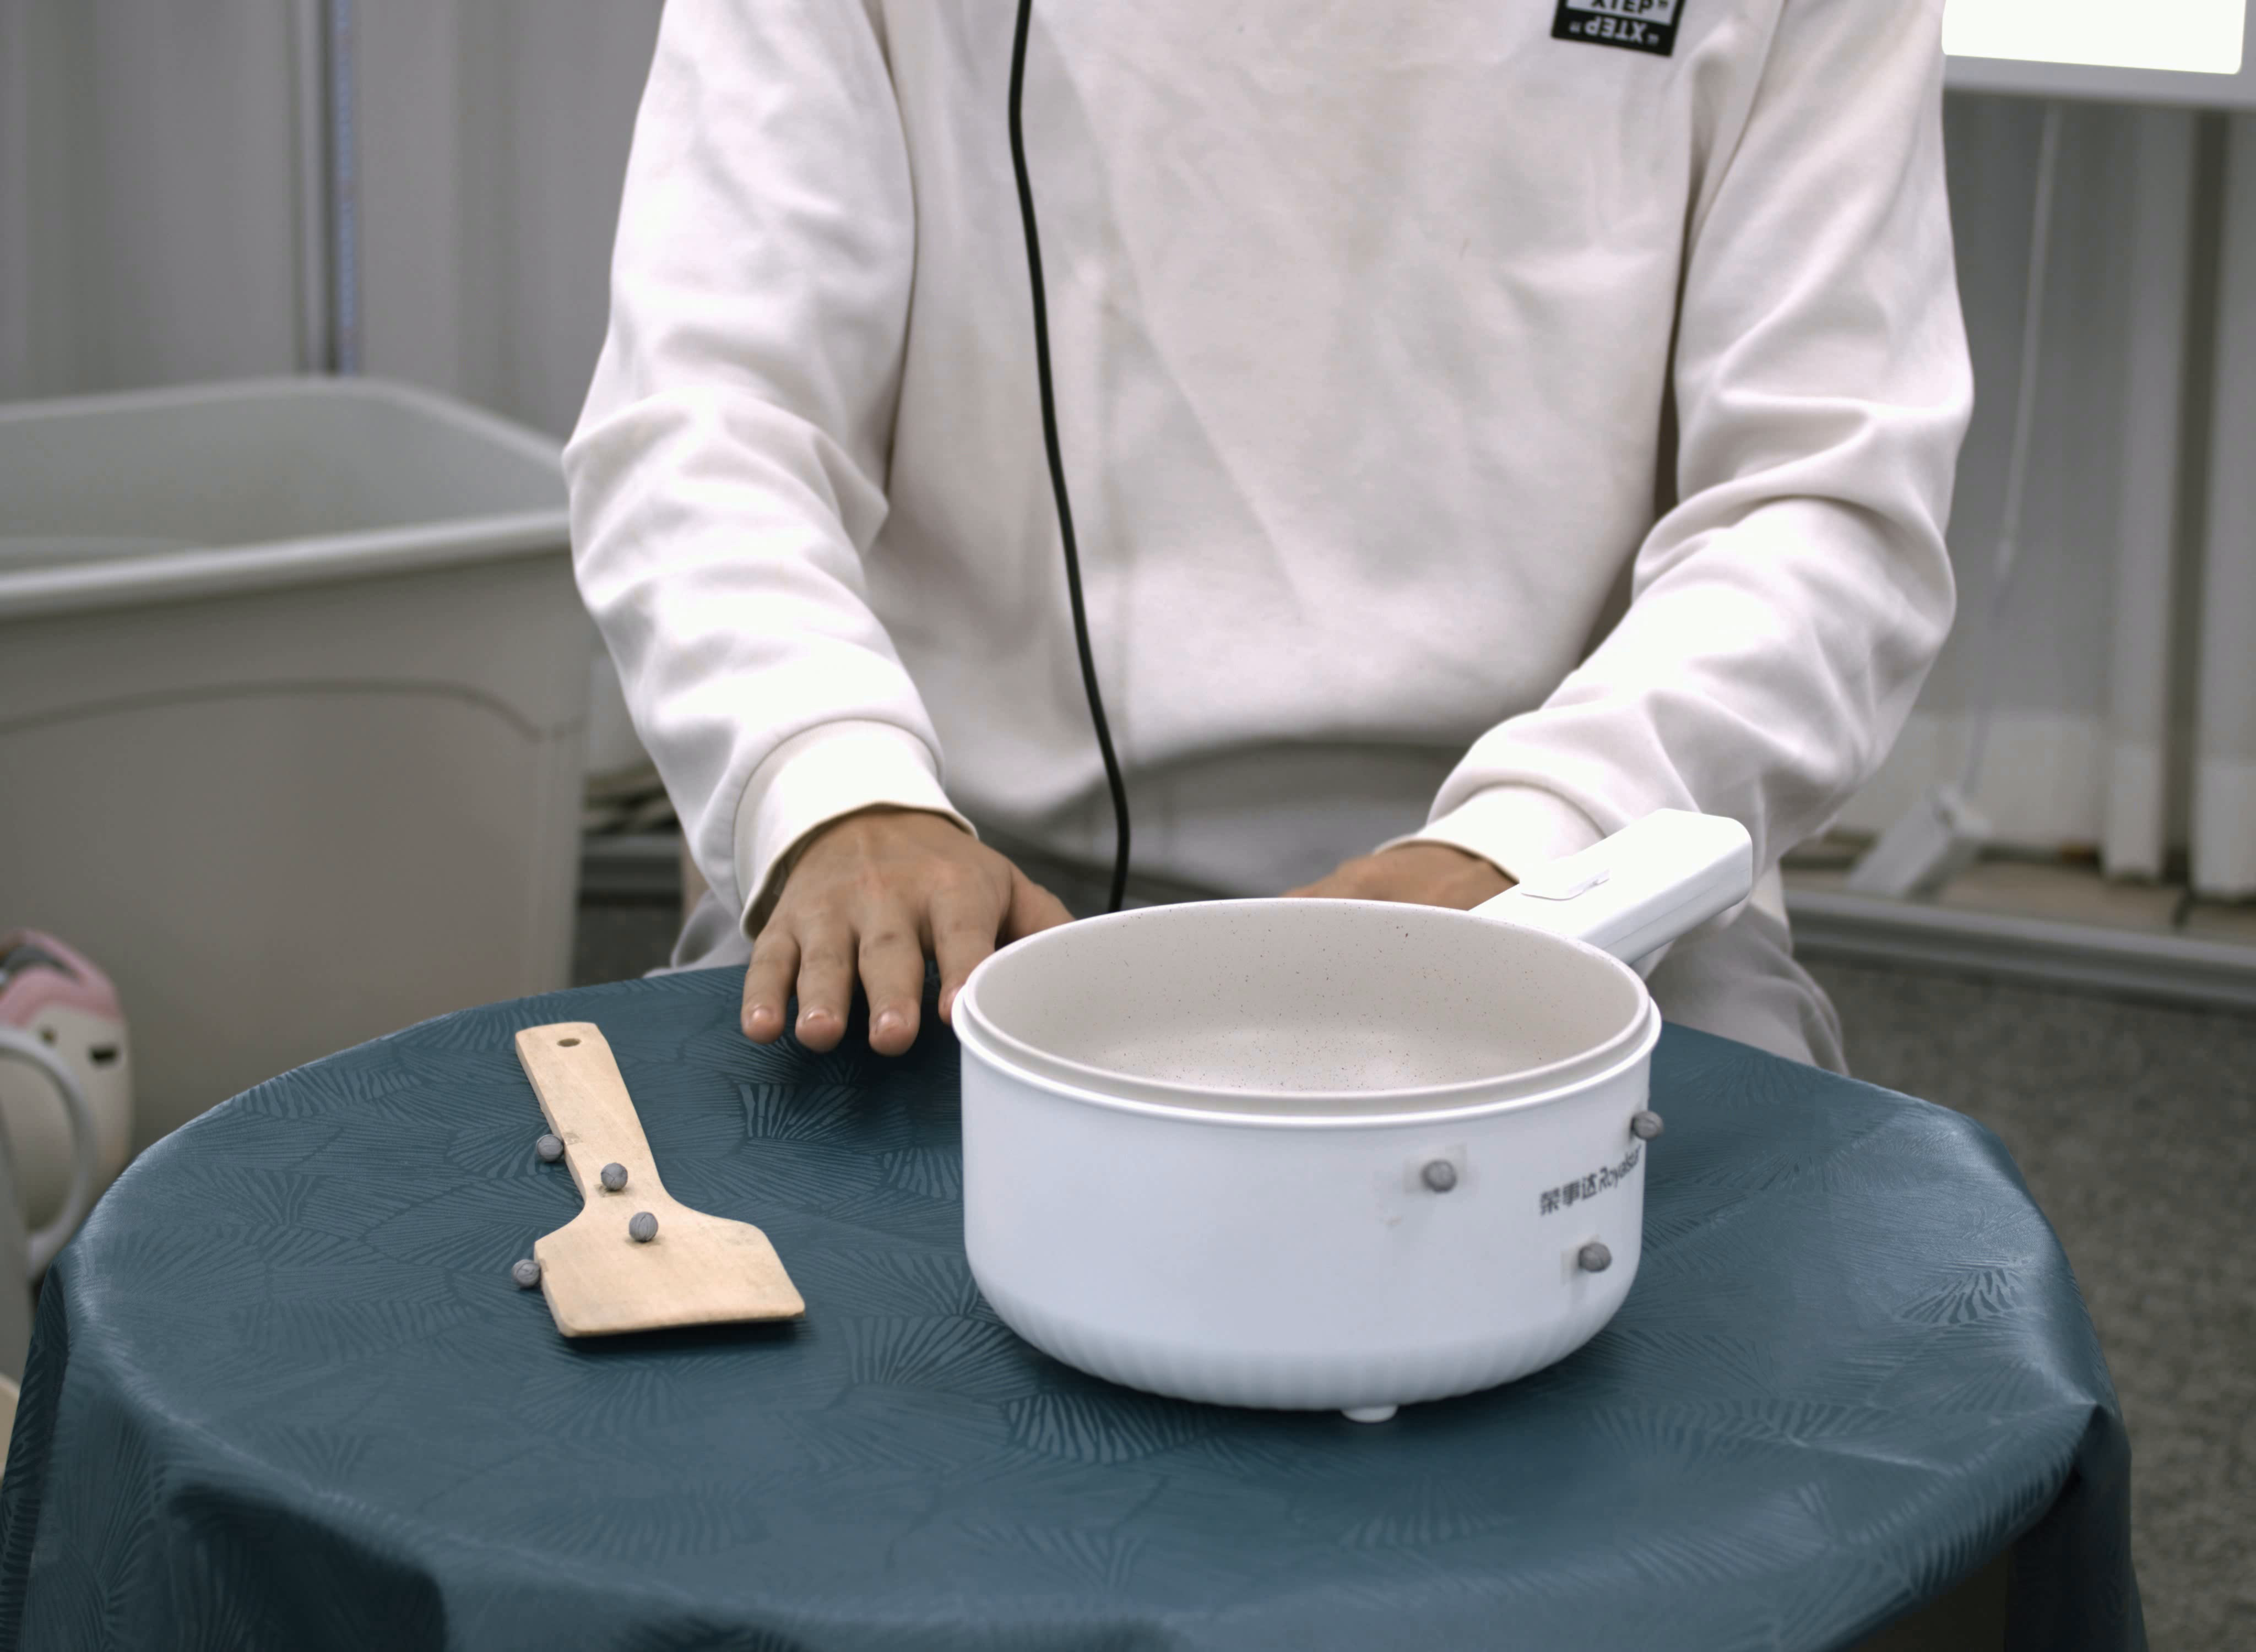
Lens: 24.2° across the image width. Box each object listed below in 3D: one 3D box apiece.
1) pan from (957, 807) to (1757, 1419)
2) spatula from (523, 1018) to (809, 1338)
[{"bbox_3d":[0.091,0.078,1.568,0.199,0.103,0.356,10,17,30],"label":"pan"},{"bbox_3d":[-0.158,0.106,1.629,0.072,0.011,0.290,-4,16,-13],"label":"spatula"}]
